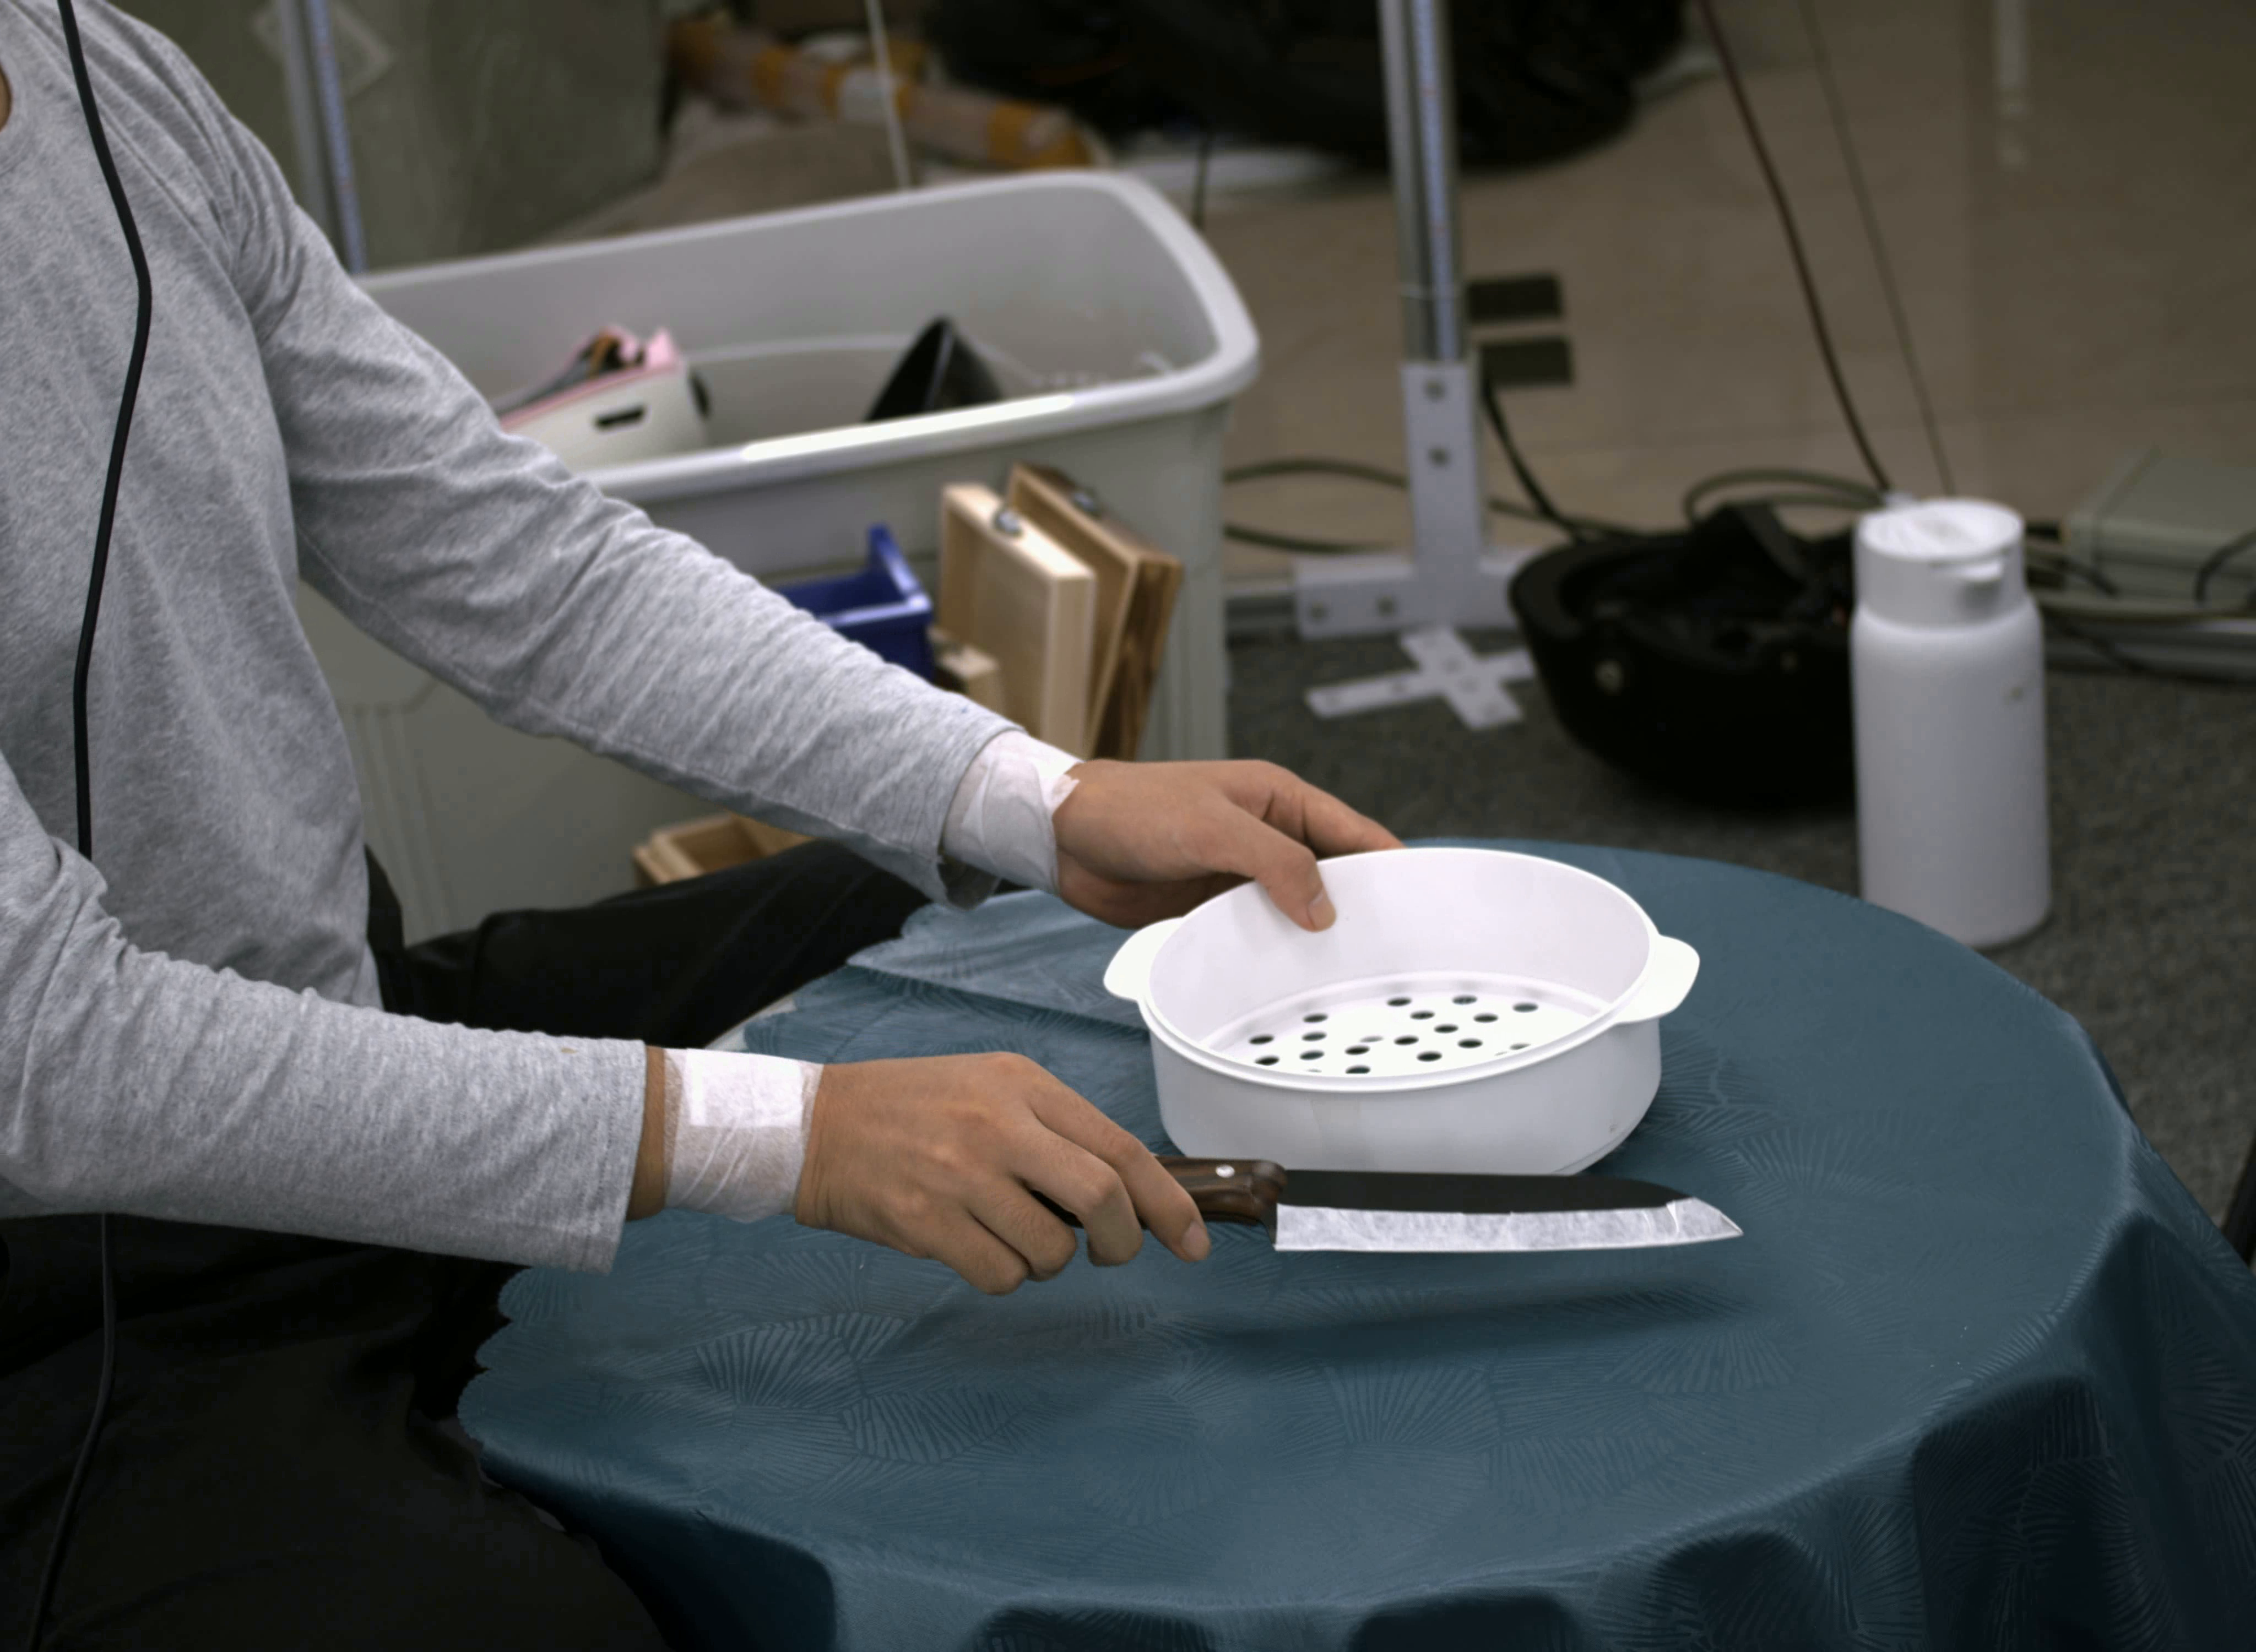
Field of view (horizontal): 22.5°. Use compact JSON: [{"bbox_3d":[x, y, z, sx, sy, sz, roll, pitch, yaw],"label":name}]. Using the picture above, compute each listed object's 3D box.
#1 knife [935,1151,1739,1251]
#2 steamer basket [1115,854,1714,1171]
[{"bbox_3d":[0.074,0.135,2.032,0.288,0.020,0.049,2,39,3],"label":"knife"},{"bbox_3d":[0.111,0.081,2.169,0.230,0.070,0.199,2,25,19],"label":"steamer basket"}]
